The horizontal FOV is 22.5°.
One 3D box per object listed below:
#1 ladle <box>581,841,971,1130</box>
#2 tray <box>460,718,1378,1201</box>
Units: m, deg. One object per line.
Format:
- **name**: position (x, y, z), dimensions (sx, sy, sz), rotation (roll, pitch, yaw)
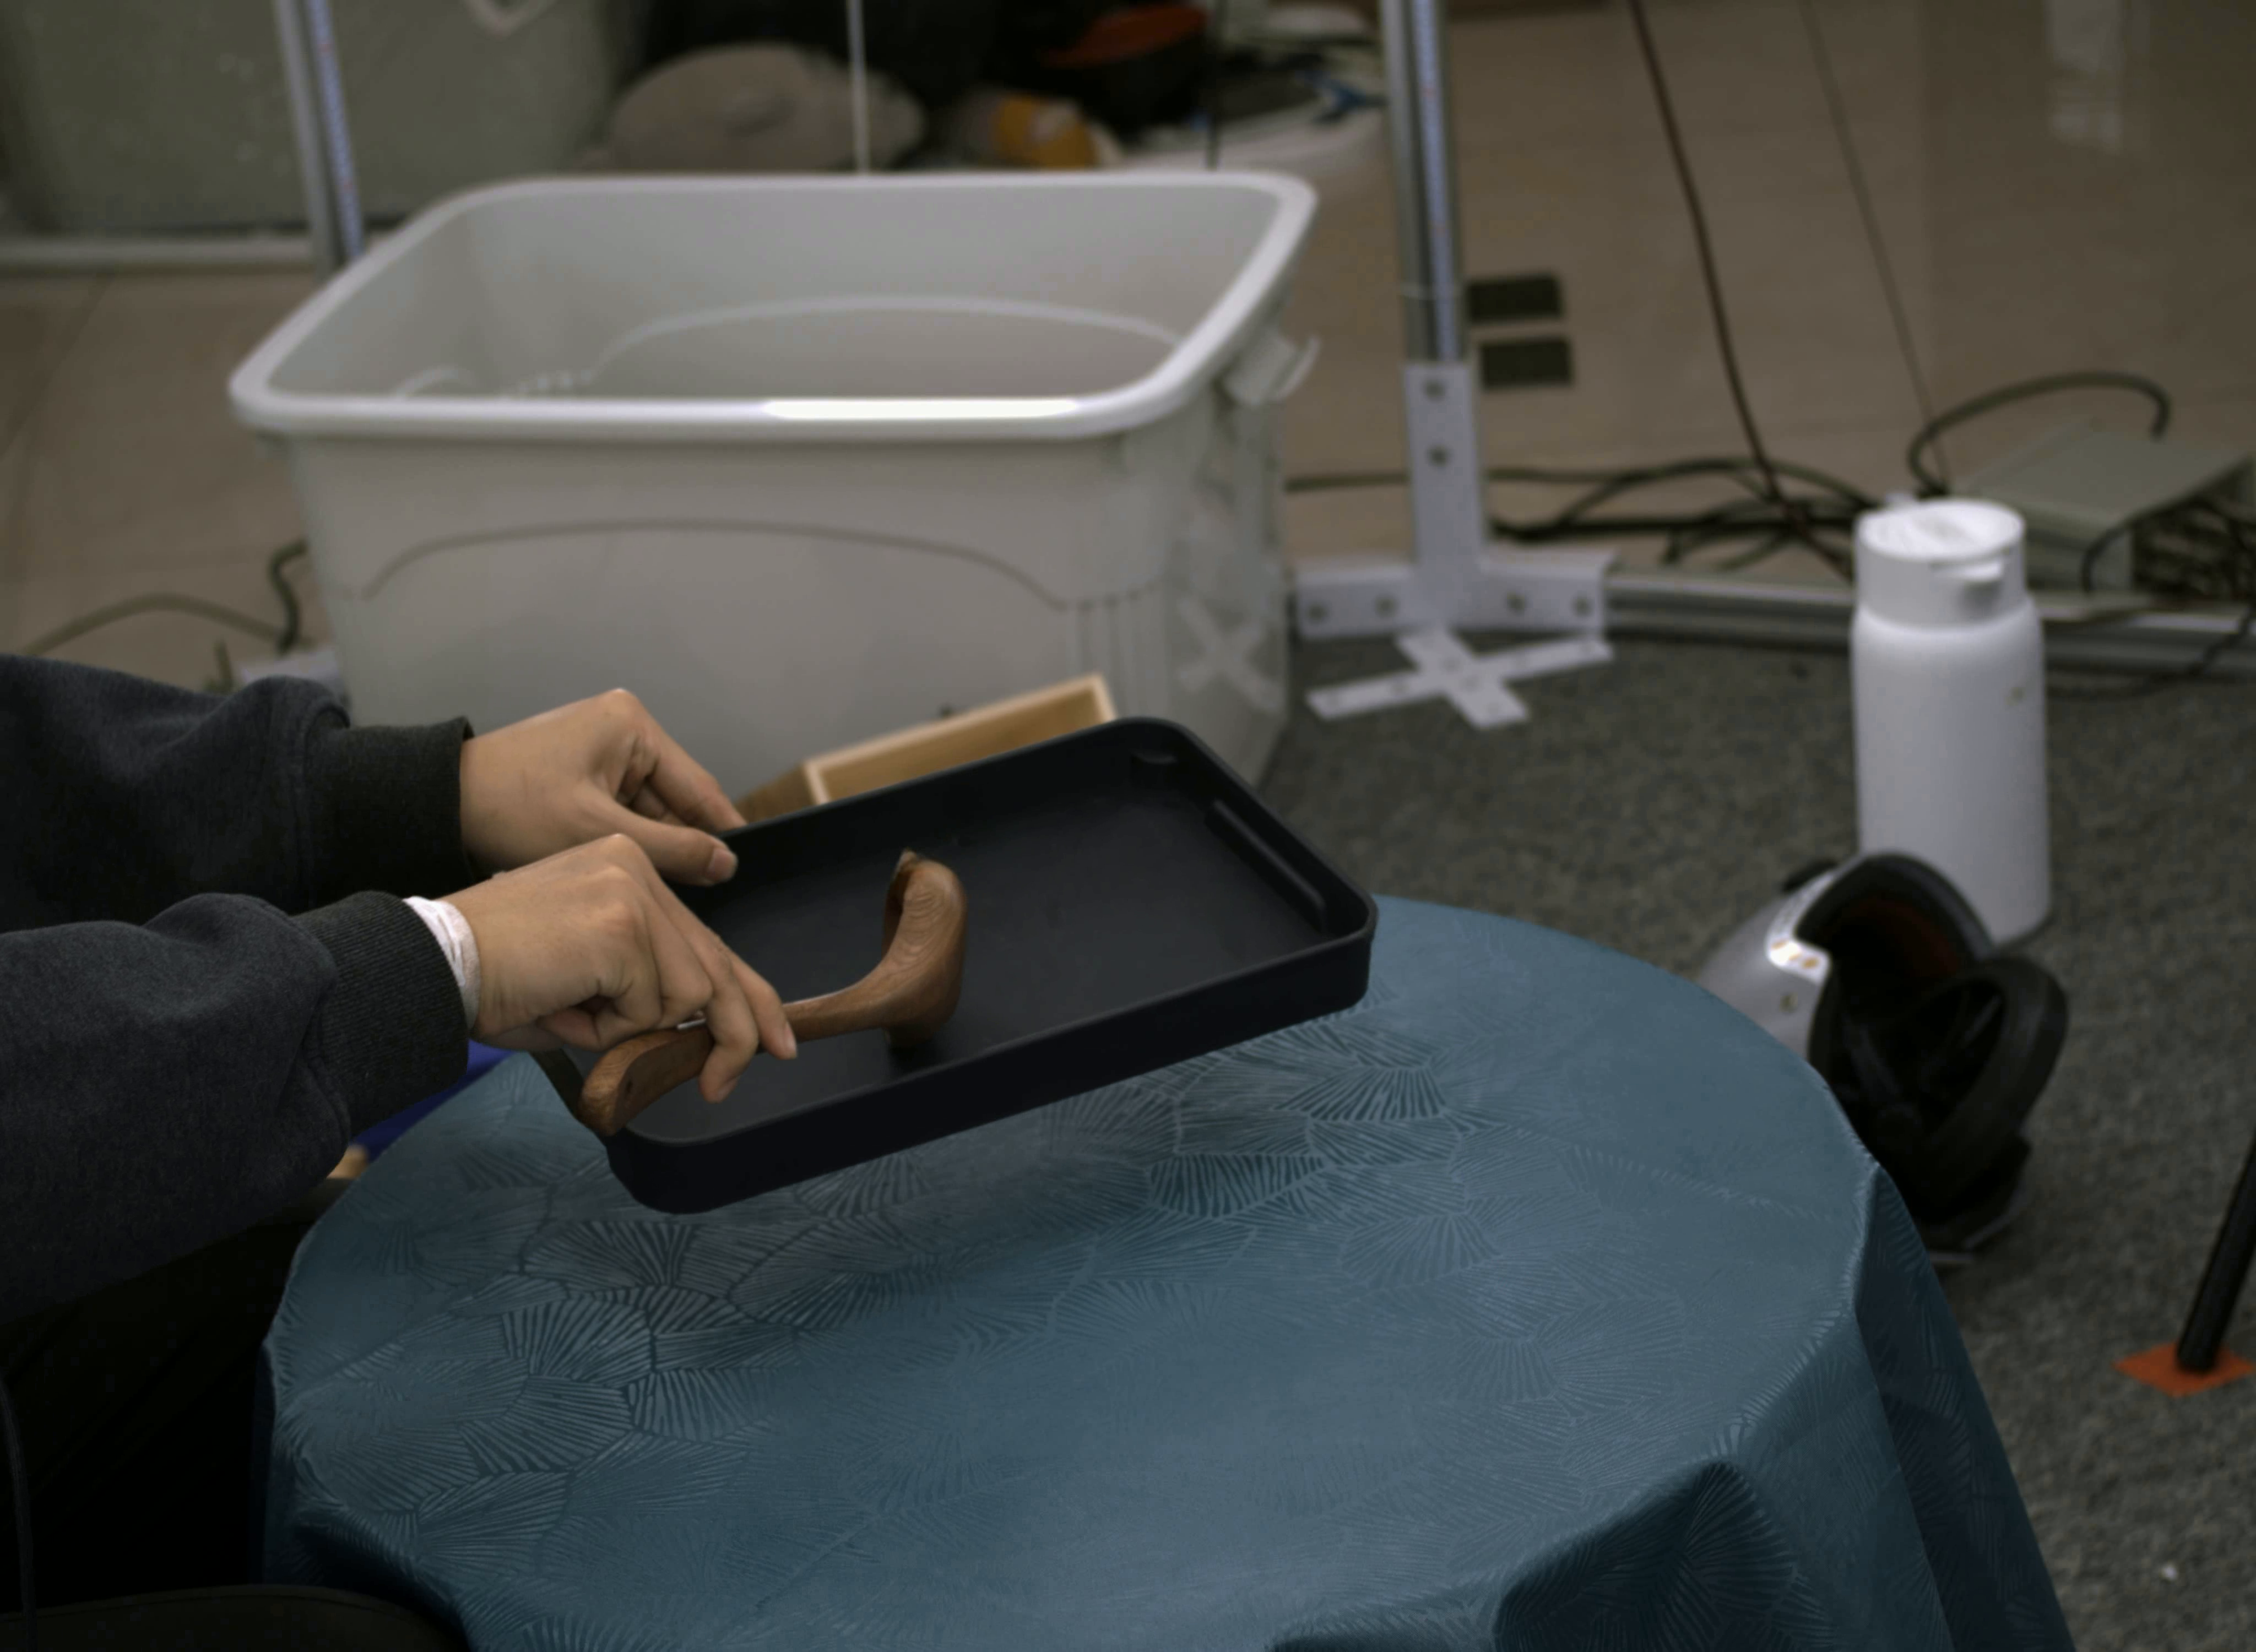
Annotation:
- **ladle**: position (-0.133, 0.064, 2.044), dimensions (0.065, 0.077, 0.258), rotation (15, 20, 31)
- **tray**: position (-0.079, 0.046, 2.161), dimensions (0.316, 0.038, 0.181), rotation (-15, 37, -26)
